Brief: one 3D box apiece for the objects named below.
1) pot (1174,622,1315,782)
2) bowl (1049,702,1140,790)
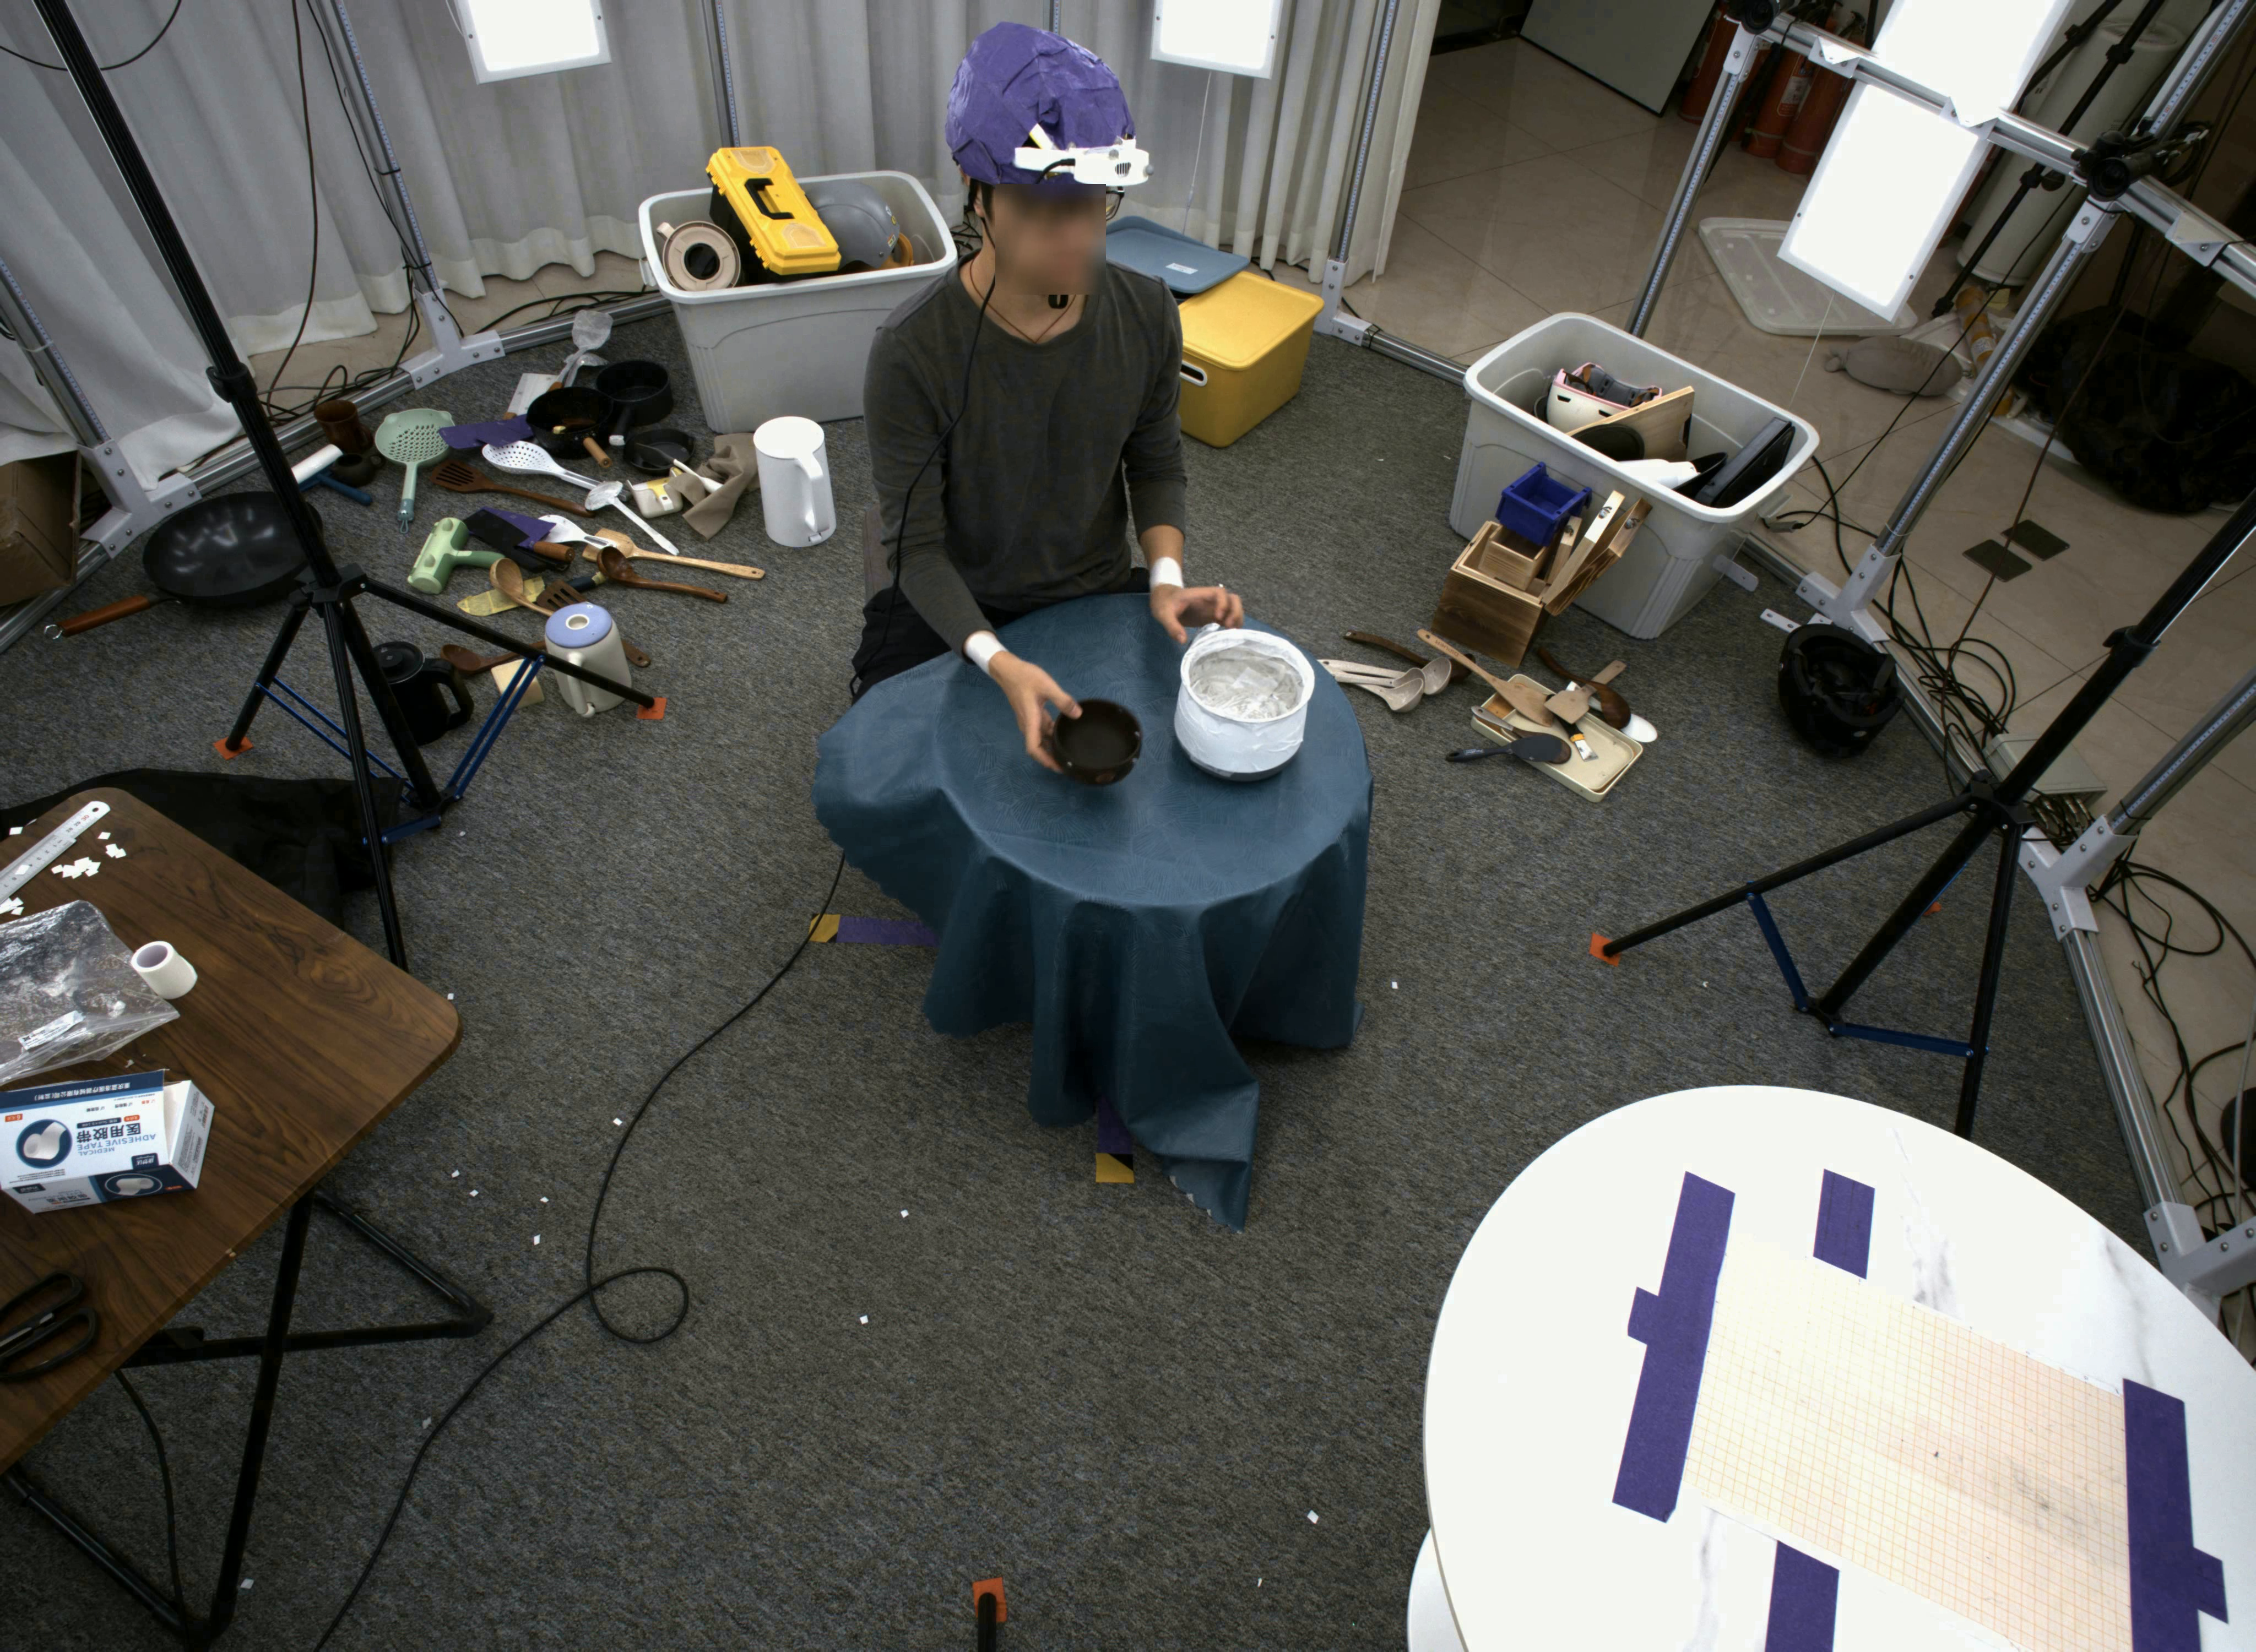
[{"bbox_3d":[0.141,-0.178,1.743,0.179,0.133,0.239,-17,53,-19],"label":"pot"},{"bbox_3d":[-0.044,-0.095,1.658,0.118,0.068,0.121,2,53,-3],"label":"bowl"}]
